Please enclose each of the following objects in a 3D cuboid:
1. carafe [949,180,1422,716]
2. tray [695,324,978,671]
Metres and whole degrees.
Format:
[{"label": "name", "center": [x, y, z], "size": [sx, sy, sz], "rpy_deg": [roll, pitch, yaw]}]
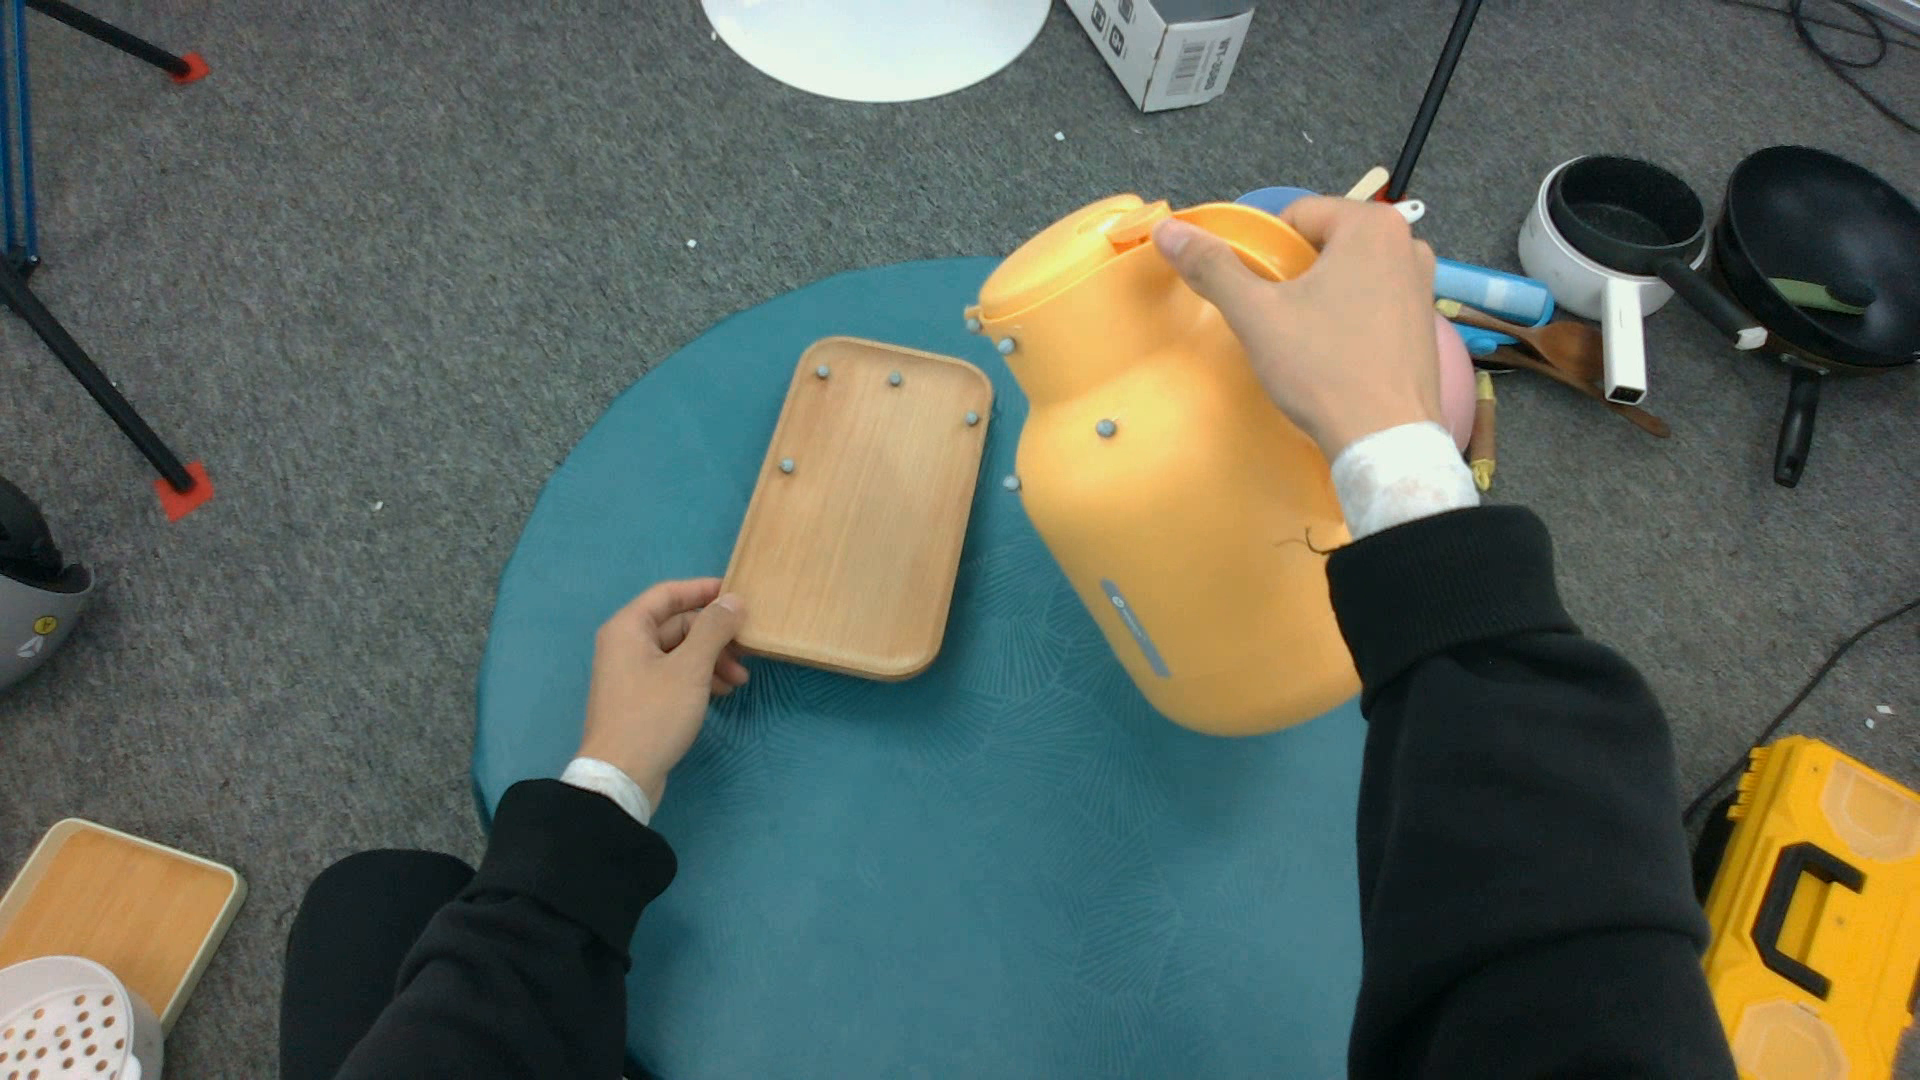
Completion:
[{"label": "carafe", "center": [0.115, -0.049, 0.664], "size": [0.164, 0.202, 0.260], "rpy_deg": [-48, 111, -29]}, {"label": "tray", "center": [-0.067, -0.033, 0.822], "size": [0.130, 0.023, 0.252], "rpy_deg": [11, 52, 2]}]
